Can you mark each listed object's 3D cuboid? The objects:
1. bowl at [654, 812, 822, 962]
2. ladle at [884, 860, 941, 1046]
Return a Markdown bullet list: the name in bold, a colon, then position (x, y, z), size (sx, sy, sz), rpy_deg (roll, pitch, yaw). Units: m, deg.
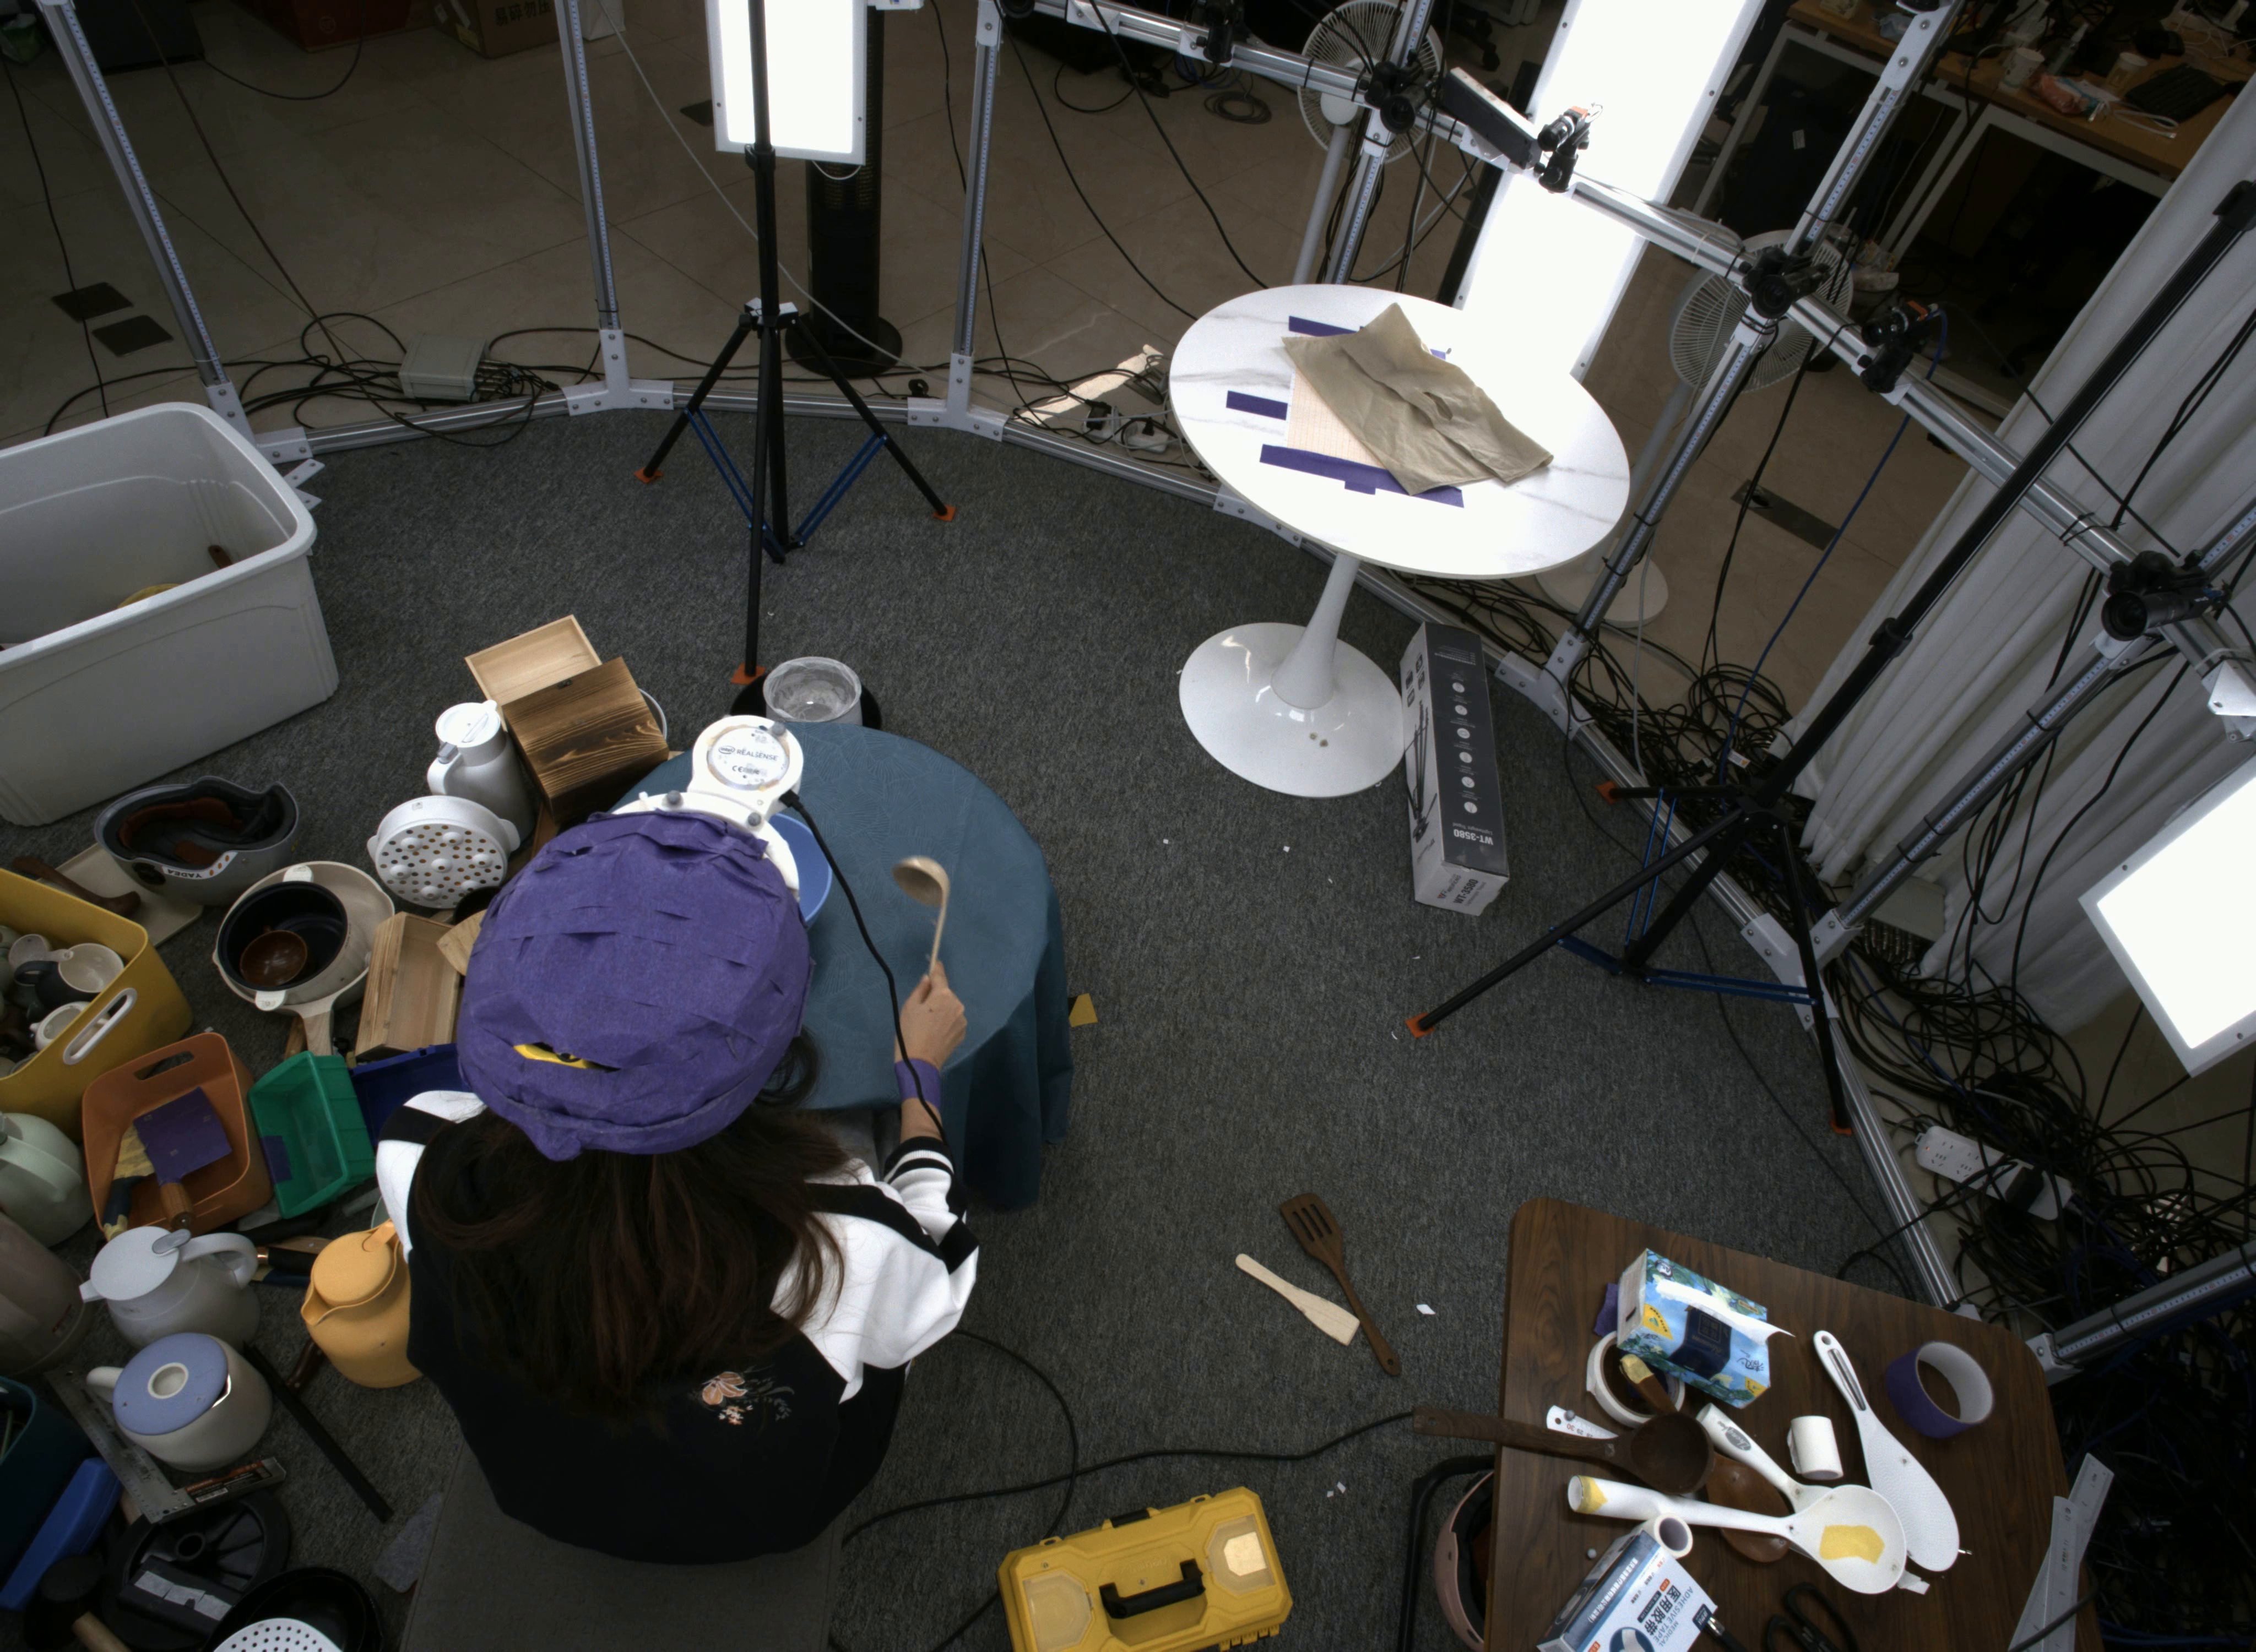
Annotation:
- **bowl**: position (-0.474, 0.088, 1.583), size (0.196, 0.097, 0.193), rpy_deg (9, 52, -10)
- **ladle**: position (-0.261, 0.146, 1.527), size (0.073, 0.073, 0.249), rpy_deg (7, 46, -11)
